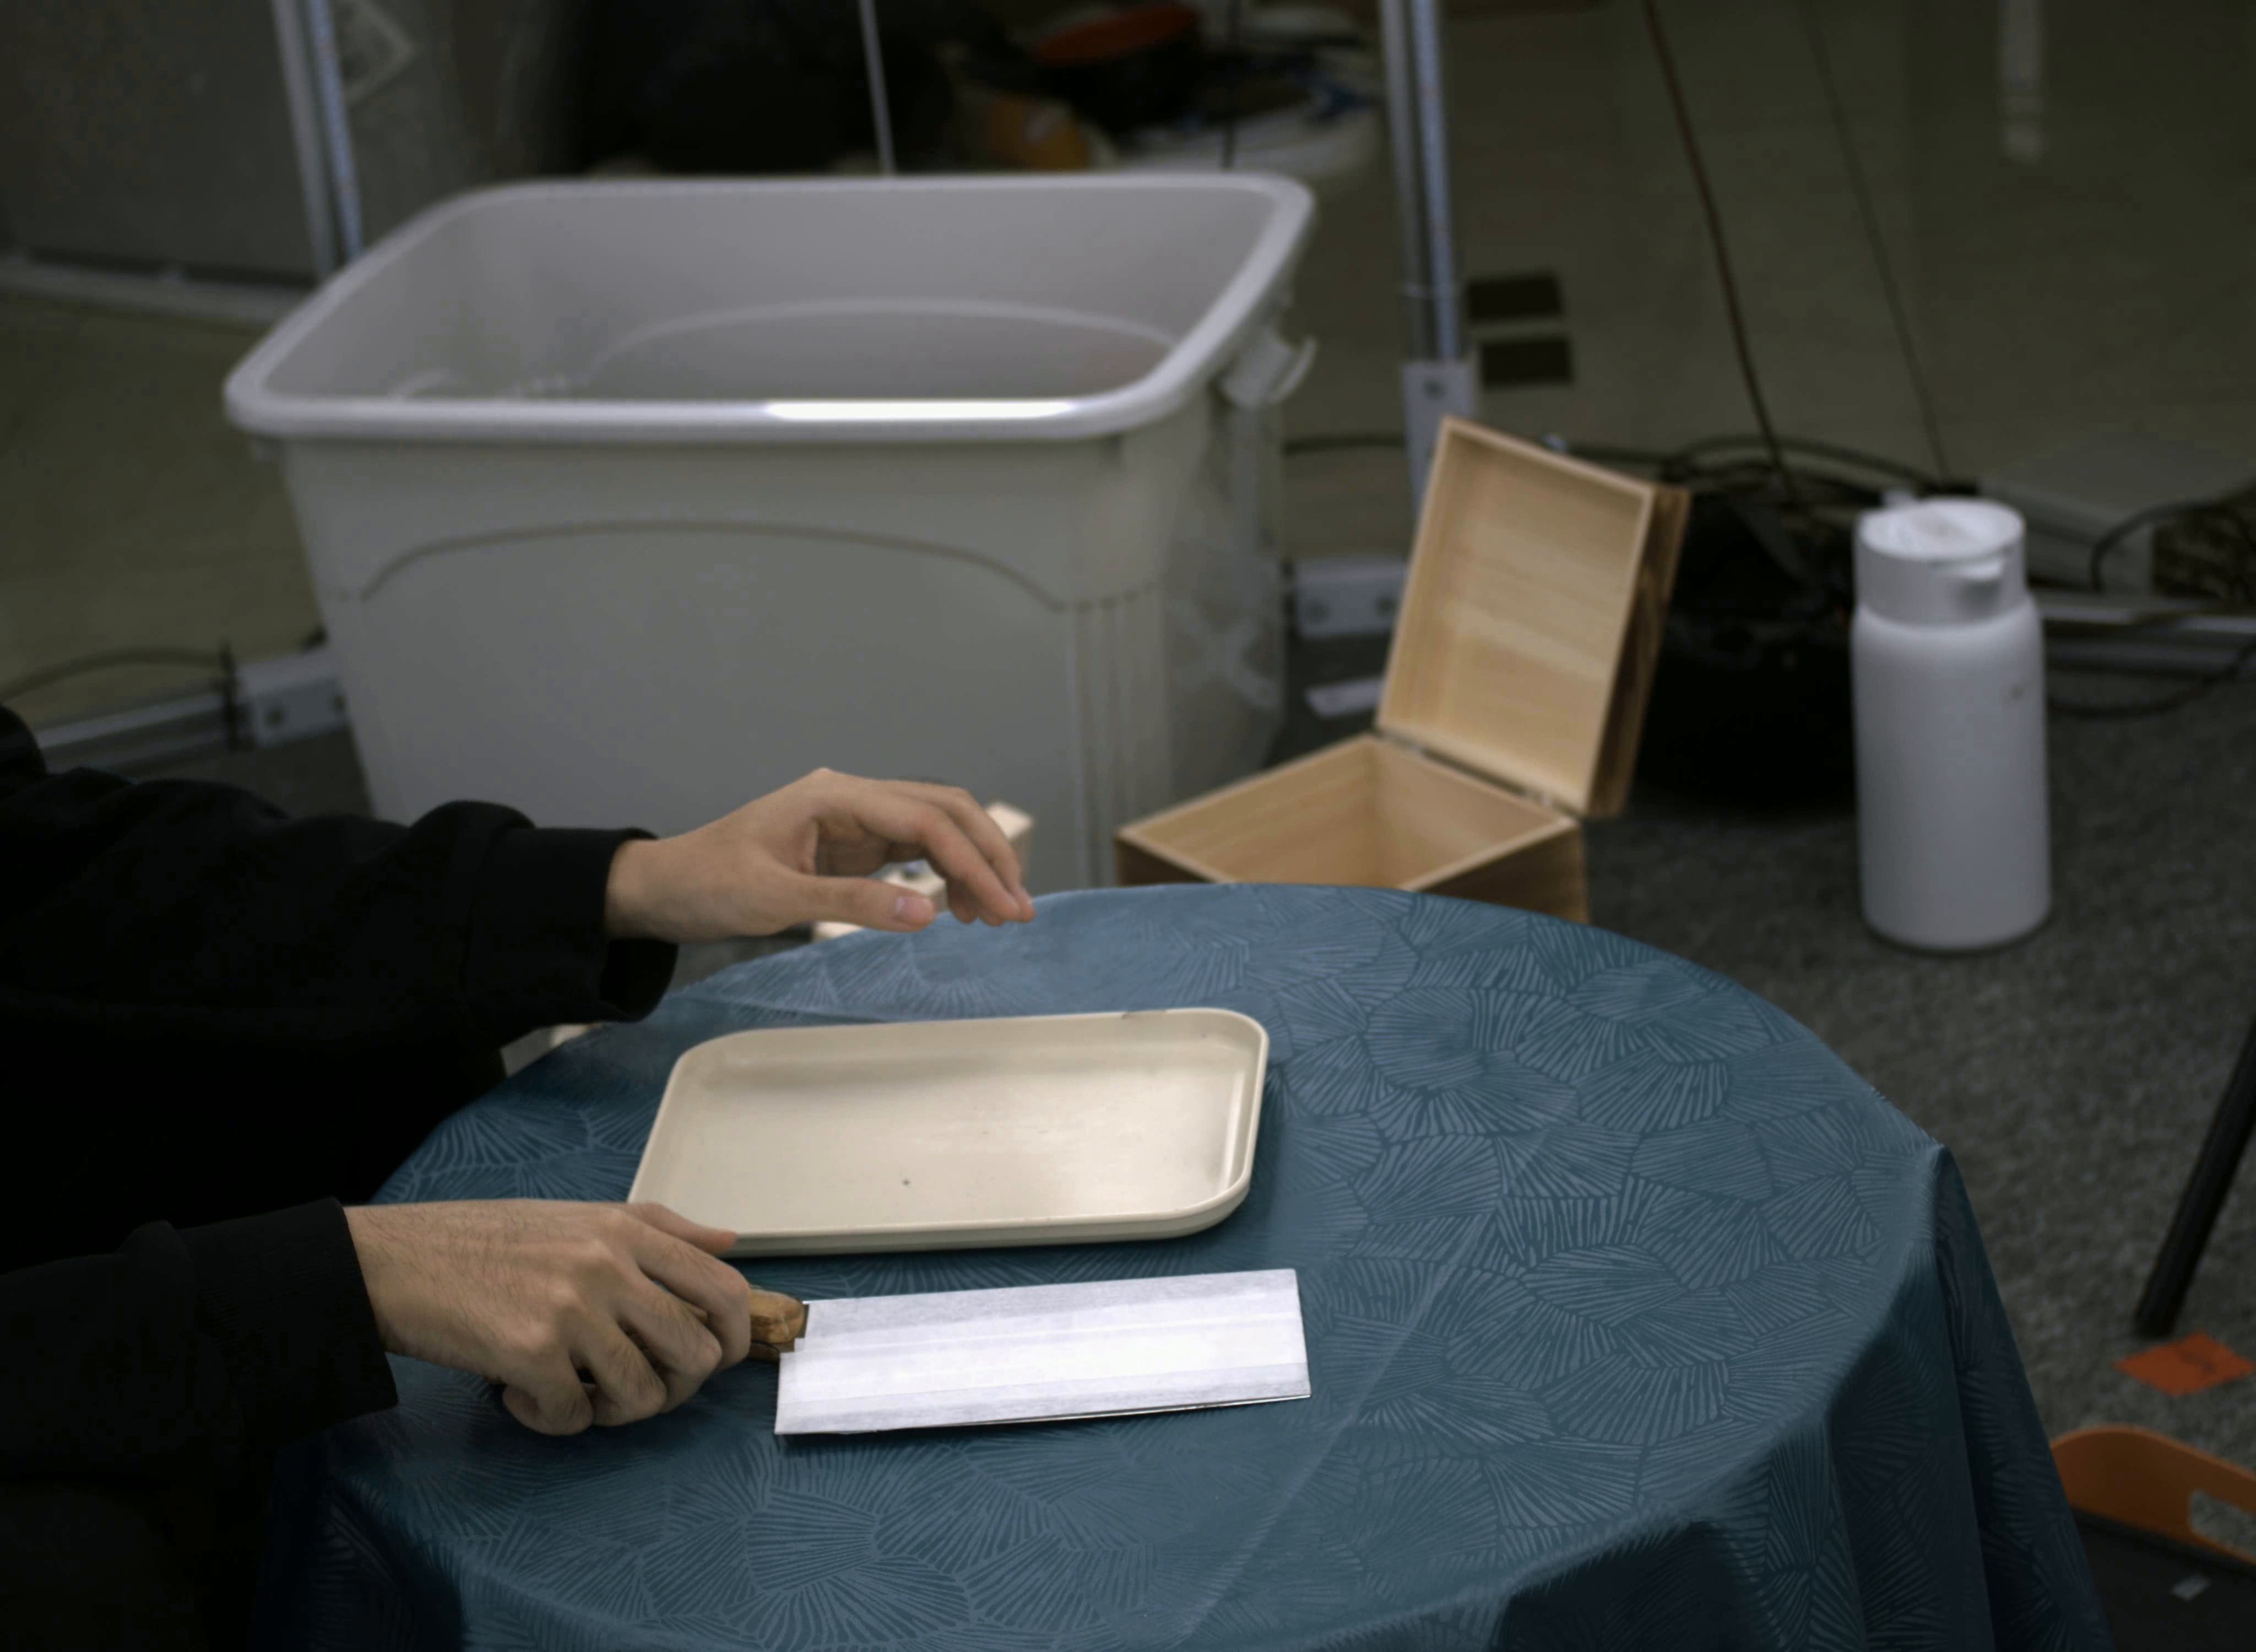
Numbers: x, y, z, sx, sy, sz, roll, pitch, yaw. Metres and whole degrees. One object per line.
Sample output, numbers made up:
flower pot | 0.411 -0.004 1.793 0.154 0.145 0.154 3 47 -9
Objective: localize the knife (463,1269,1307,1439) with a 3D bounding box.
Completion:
knife | -0.089 0.191 2.038 0.305 0.021 0.091 -4 26 0

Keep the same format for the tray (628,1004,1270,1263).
tray | -0.066 0.119 2.182 0.239 0.018 0.169 -3 26 7
